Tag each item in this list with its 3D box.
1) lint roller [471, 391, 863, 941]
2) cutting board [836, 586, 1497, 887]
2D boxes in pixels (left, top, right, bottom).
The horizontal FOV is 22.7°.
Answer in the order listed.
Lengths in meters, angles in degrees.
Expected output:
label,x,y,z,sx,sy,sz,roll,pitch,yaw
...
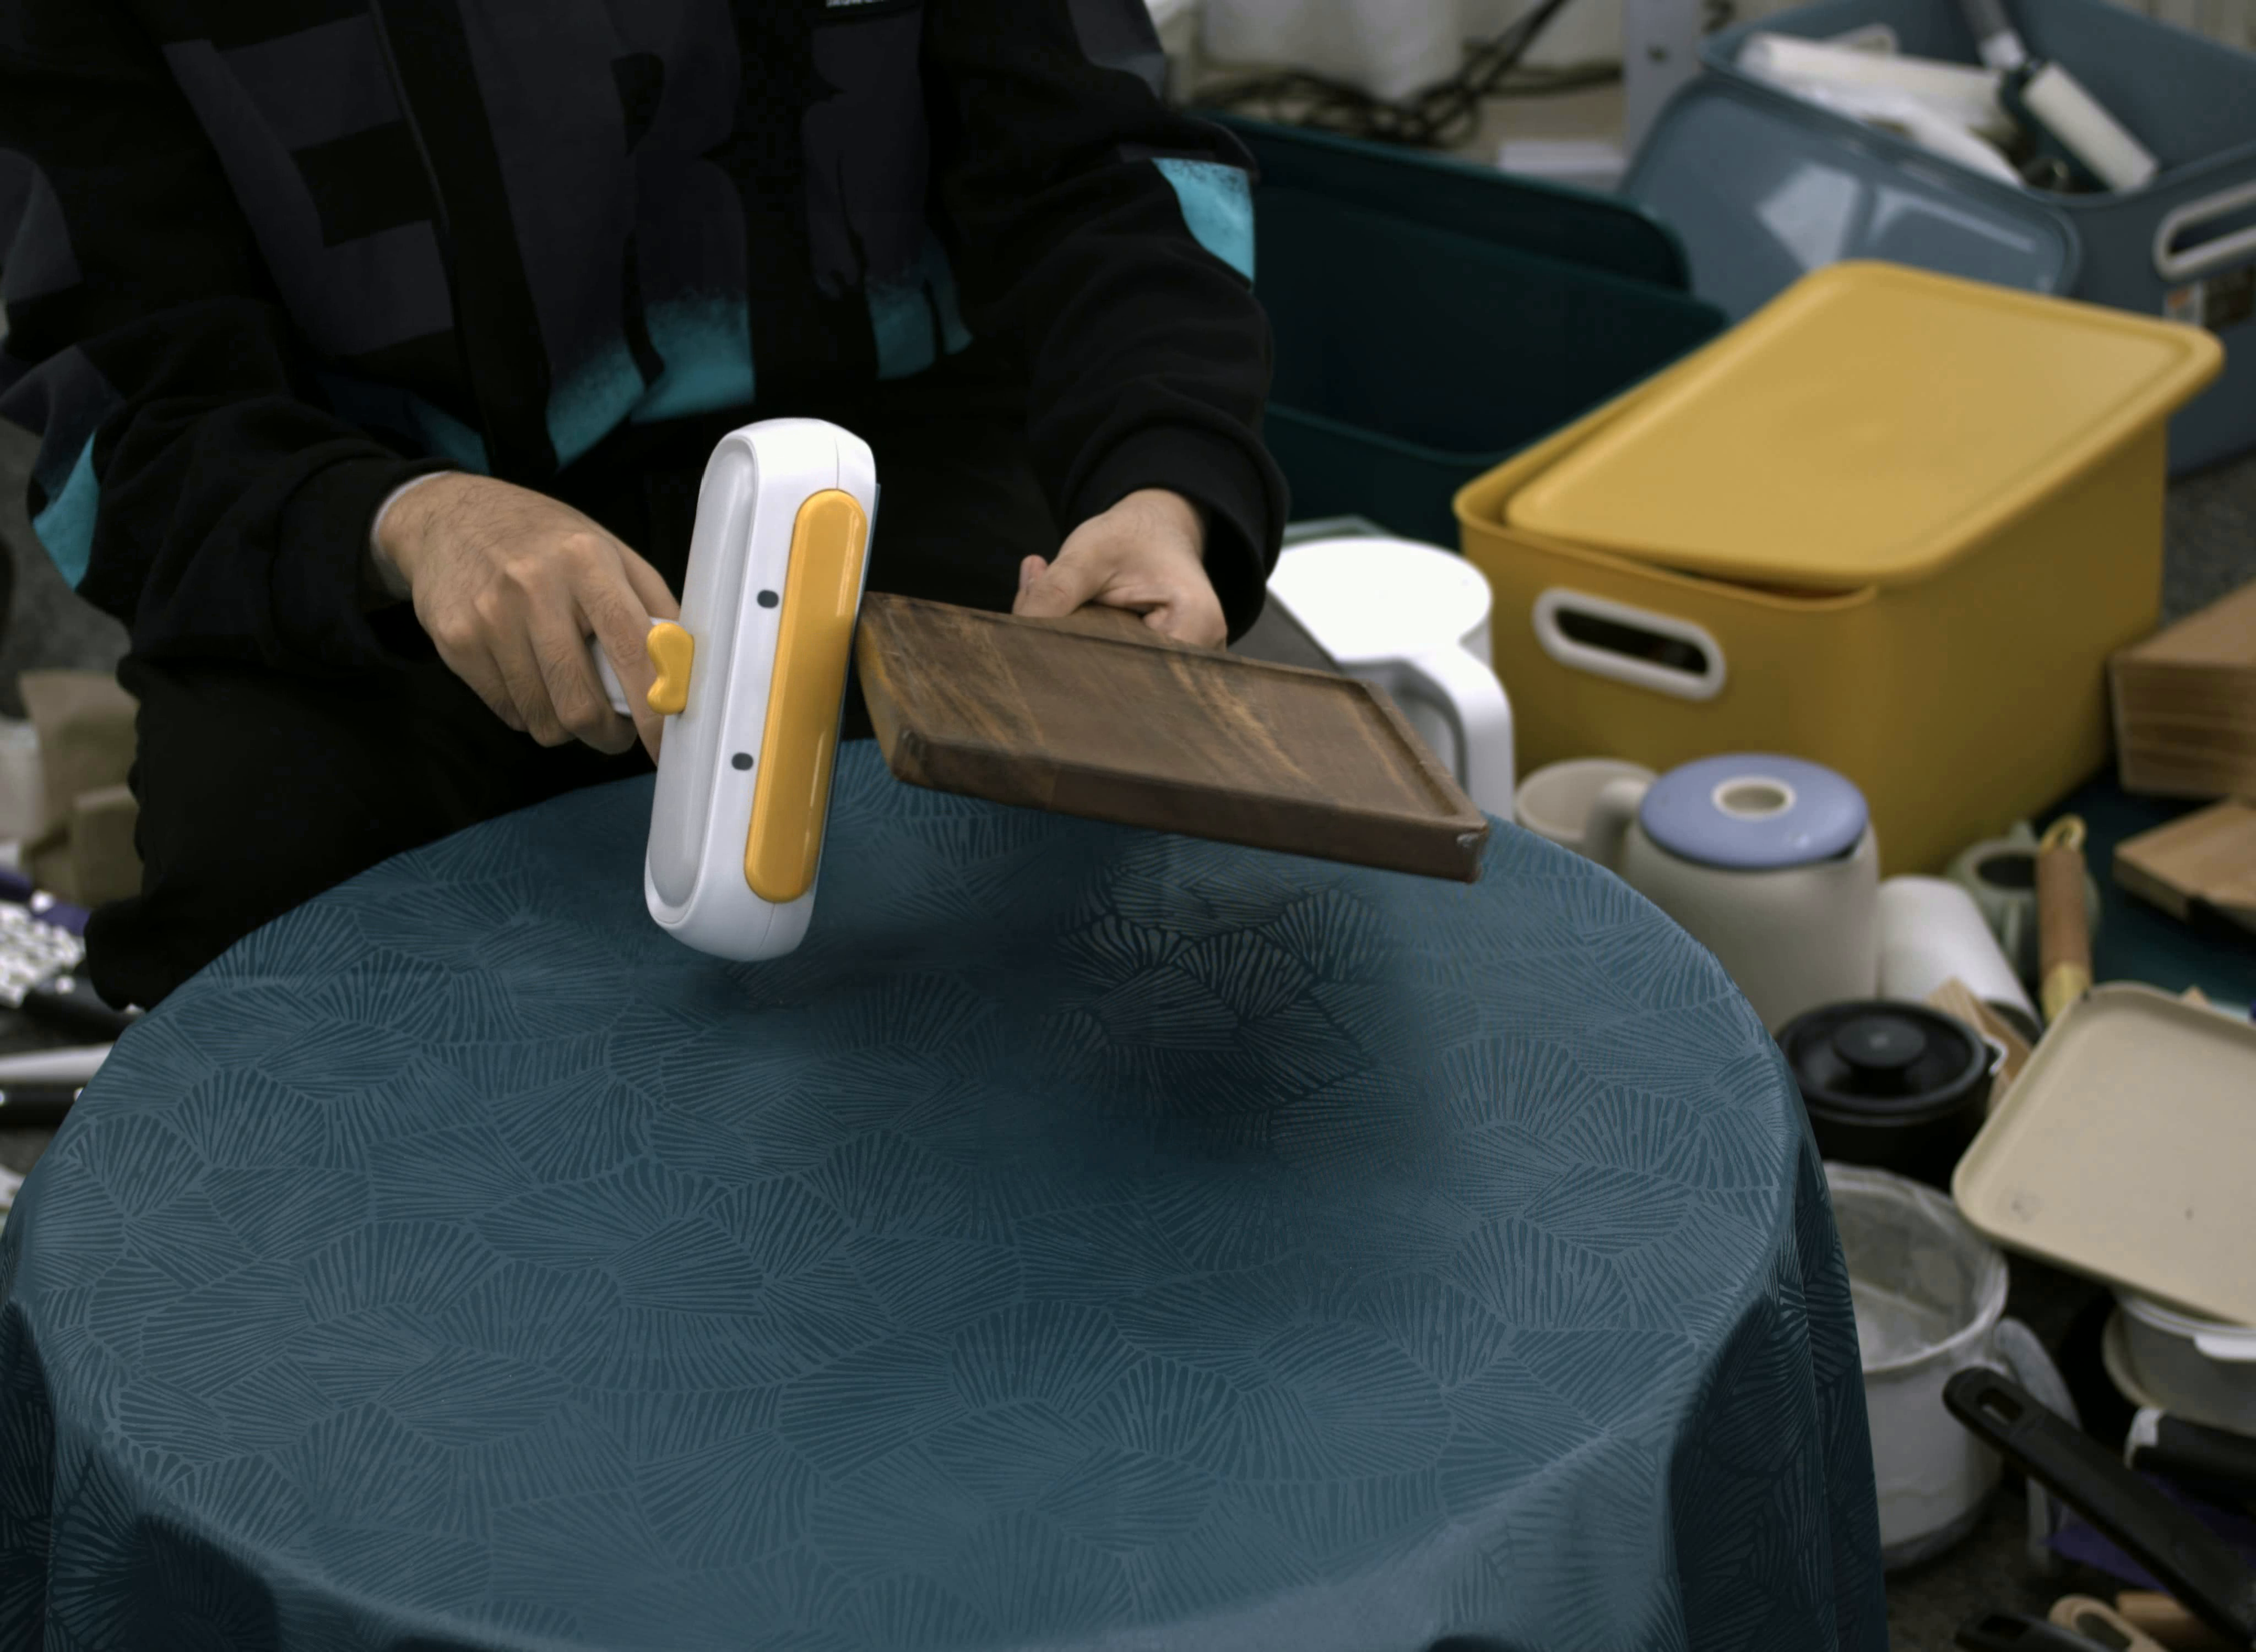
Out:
label,x,y,z,sx,sy,sz,roll,pitch,yaw
lint roller,-0.167,-0.059,2.019,0.074,0.194,0.191,4,0,-34
cutting board,0.002,-0.042,1.951,0.200,0.023,0.354,10,11,-9
